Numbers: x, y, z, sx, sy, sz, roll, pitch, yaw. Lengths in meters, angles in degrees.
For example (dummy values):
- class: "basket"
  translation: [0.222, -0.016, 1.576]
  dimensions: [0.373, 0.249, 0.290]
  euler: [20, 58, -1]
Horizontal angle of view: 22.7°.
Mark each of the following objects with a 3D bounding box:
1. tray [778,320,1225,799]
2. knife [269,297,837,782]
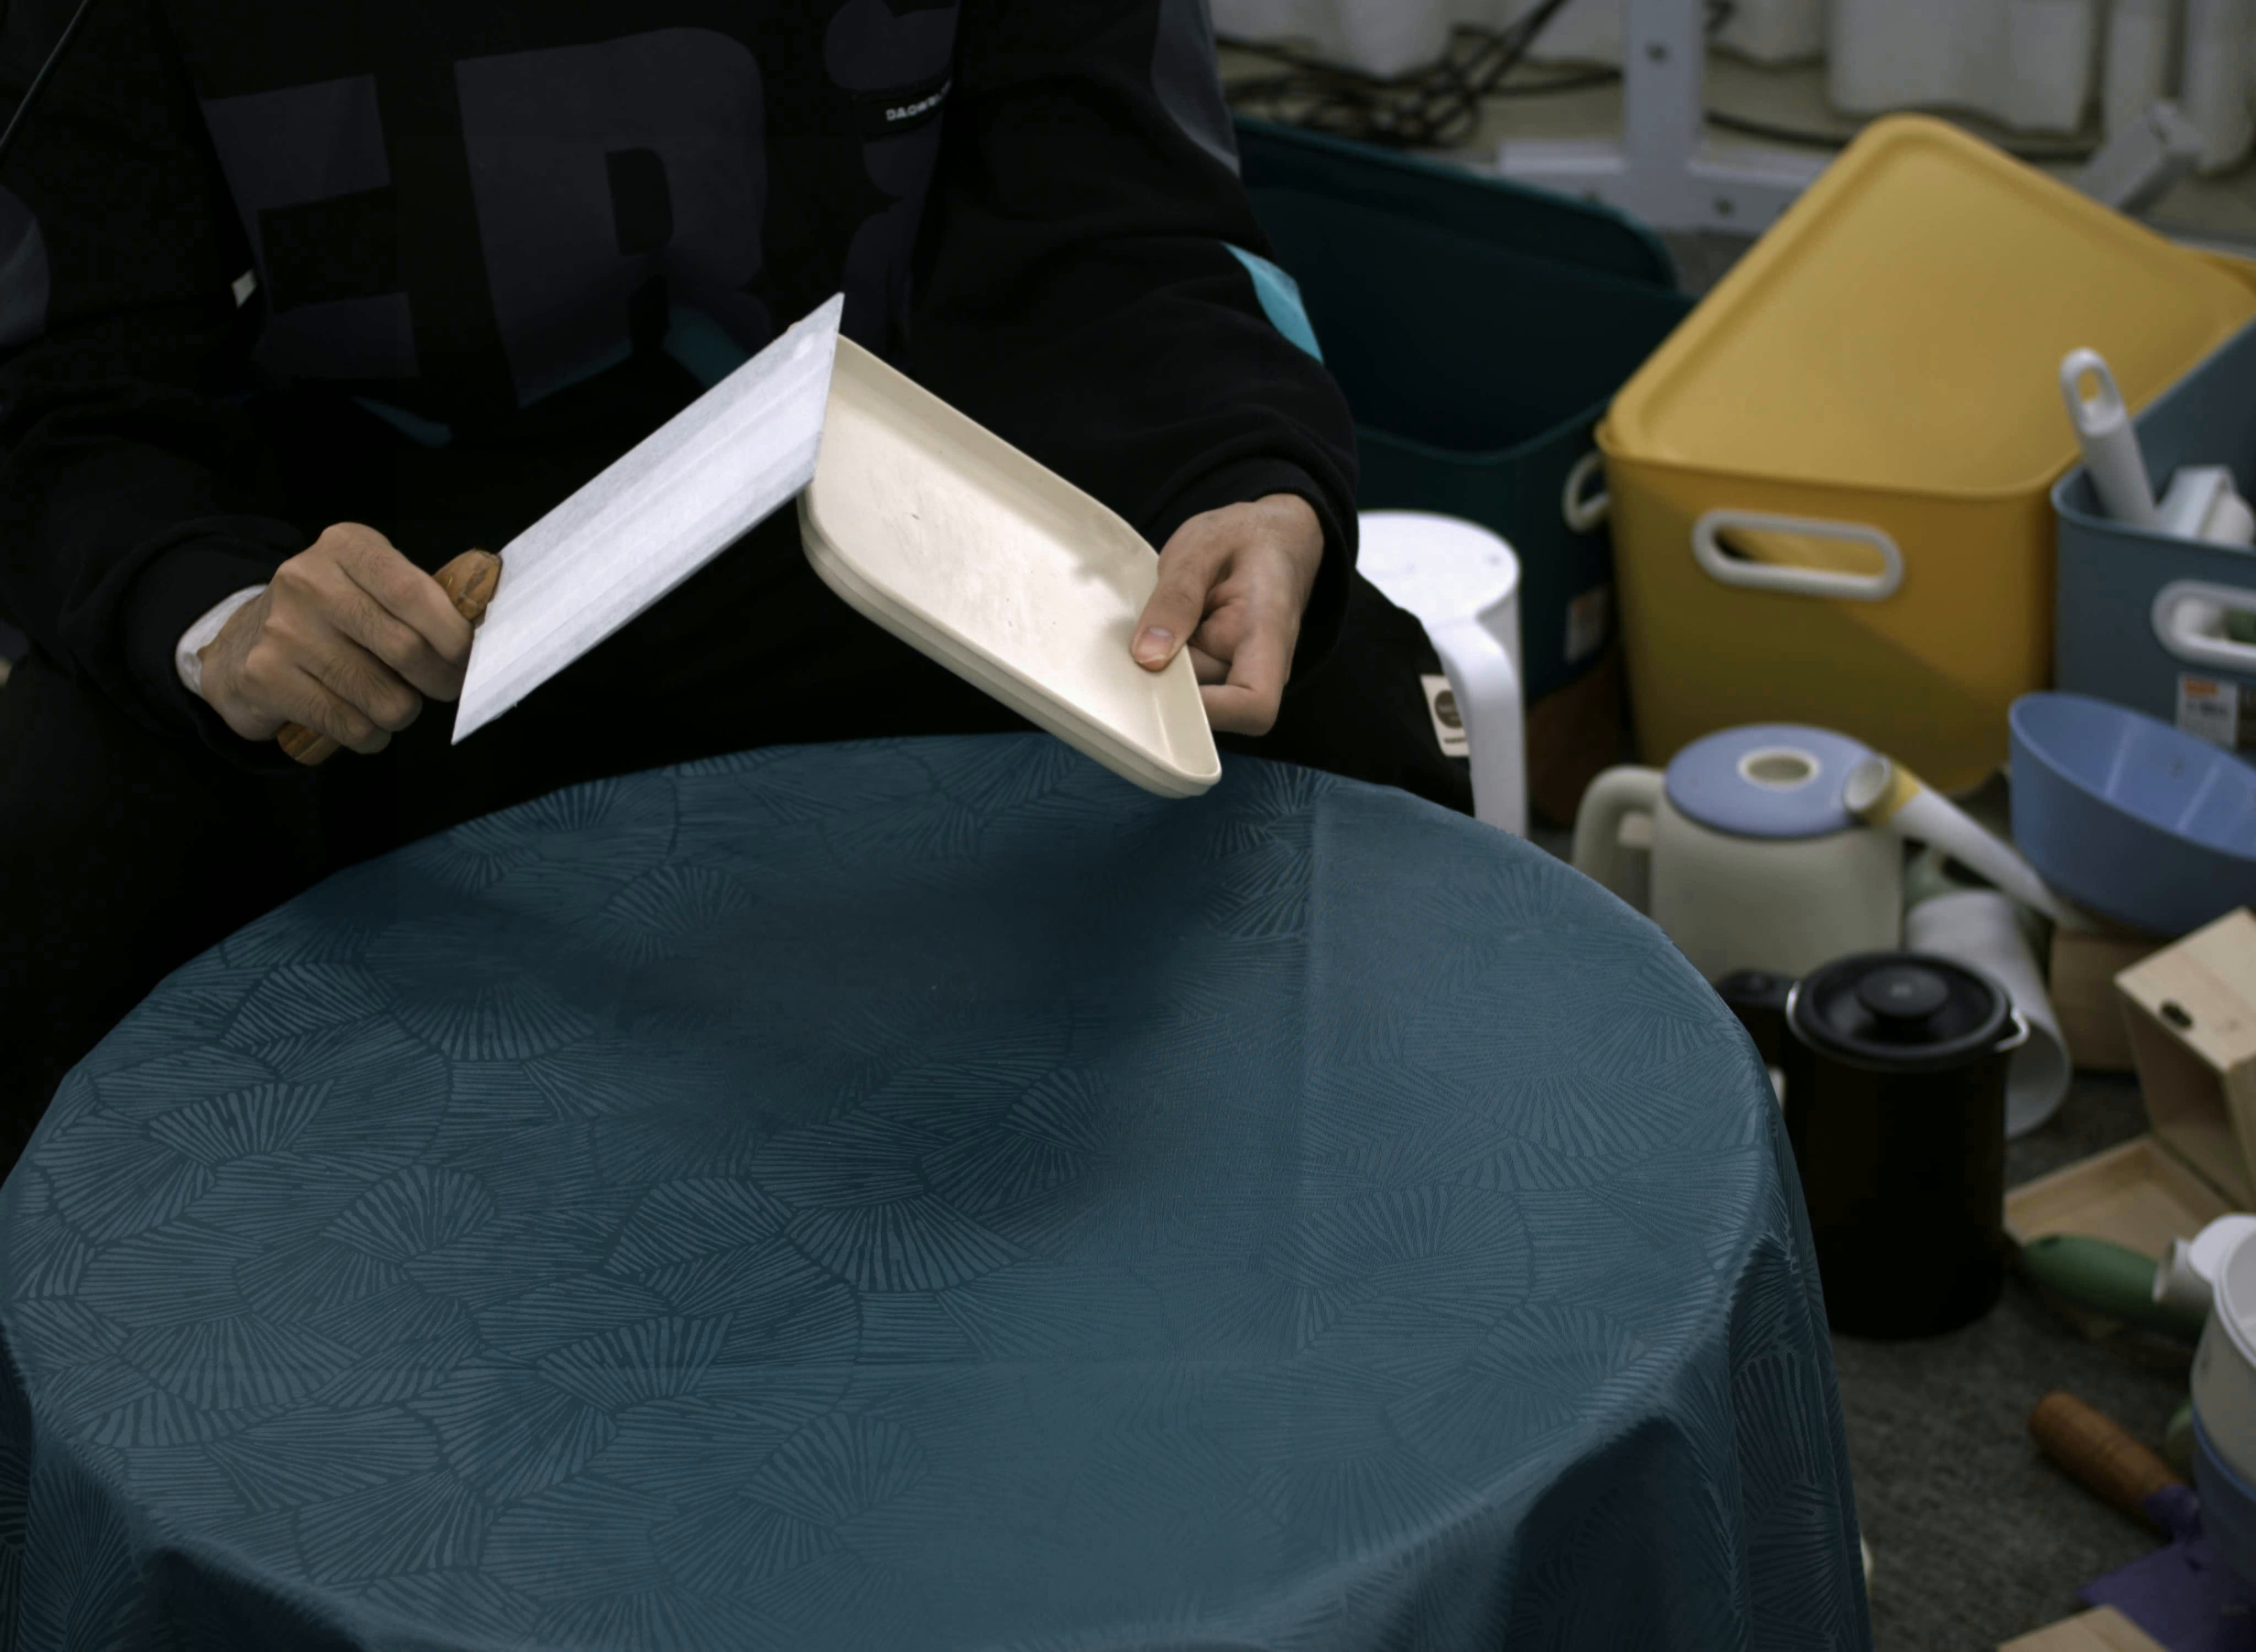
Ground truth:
- class: "tray"
  translation: [-0.049, -0.092, 1.955]
  dimensions: [0.170, 0.017, 0.242]
  euler: [32, 18, -18]
- class: "knife"
  translation: [-0.201, -0.077, 1.922]
  dimensions: [0.301, 0.021, 0.095]
  euler: [-33, 36, 34]
